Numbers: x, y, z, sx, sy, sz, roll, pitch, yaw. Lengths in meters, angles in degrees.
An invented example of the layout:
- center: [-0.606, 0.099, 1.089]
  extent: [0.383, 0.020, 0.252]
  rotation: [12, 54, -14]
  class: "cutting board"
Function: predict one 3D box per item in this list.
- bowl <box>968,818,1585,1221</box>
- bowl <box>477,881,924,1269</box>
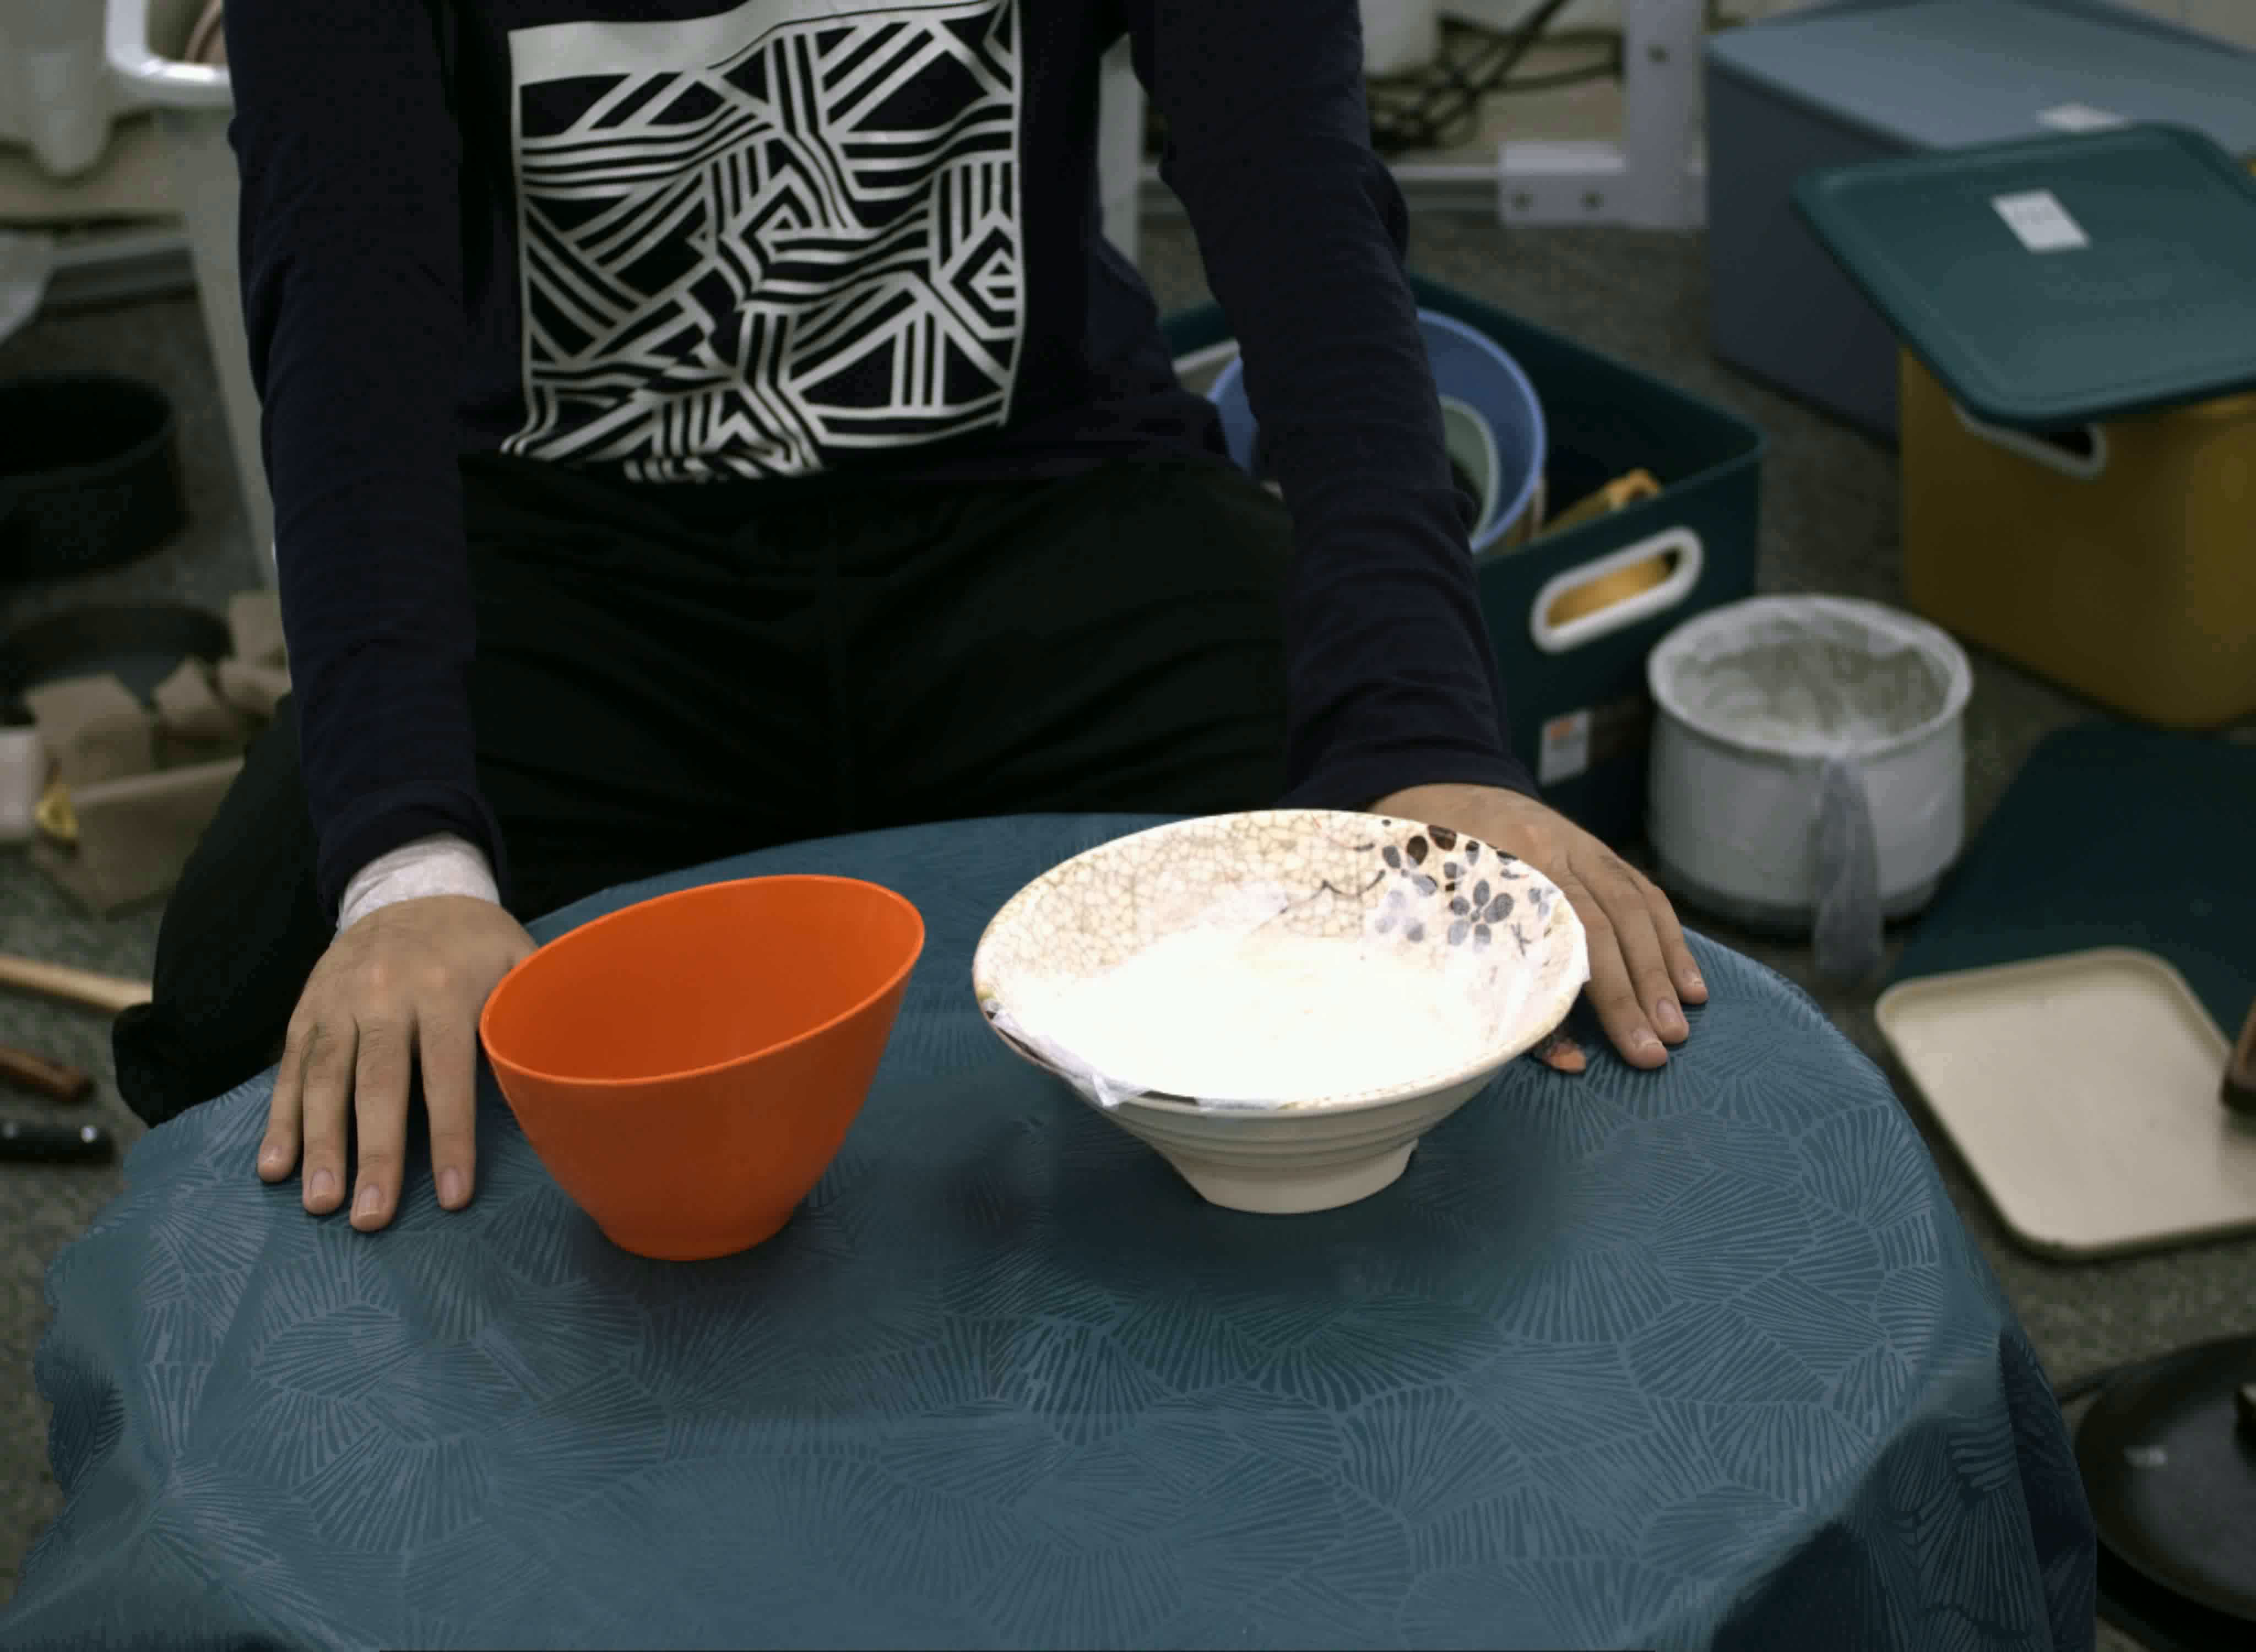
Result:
- center: [0.050, 0.076, 1.864]
  extent: [0.203, 0.077, 0.207]
  rotation: [-1, 26, 1]
  class: "bowl"
- center: [-0.136, 0.086, 1.836]
  extent: [0.147, 0.103, 0.150]
  rotation: [-3, 26, 2]
  class: "bowl"
